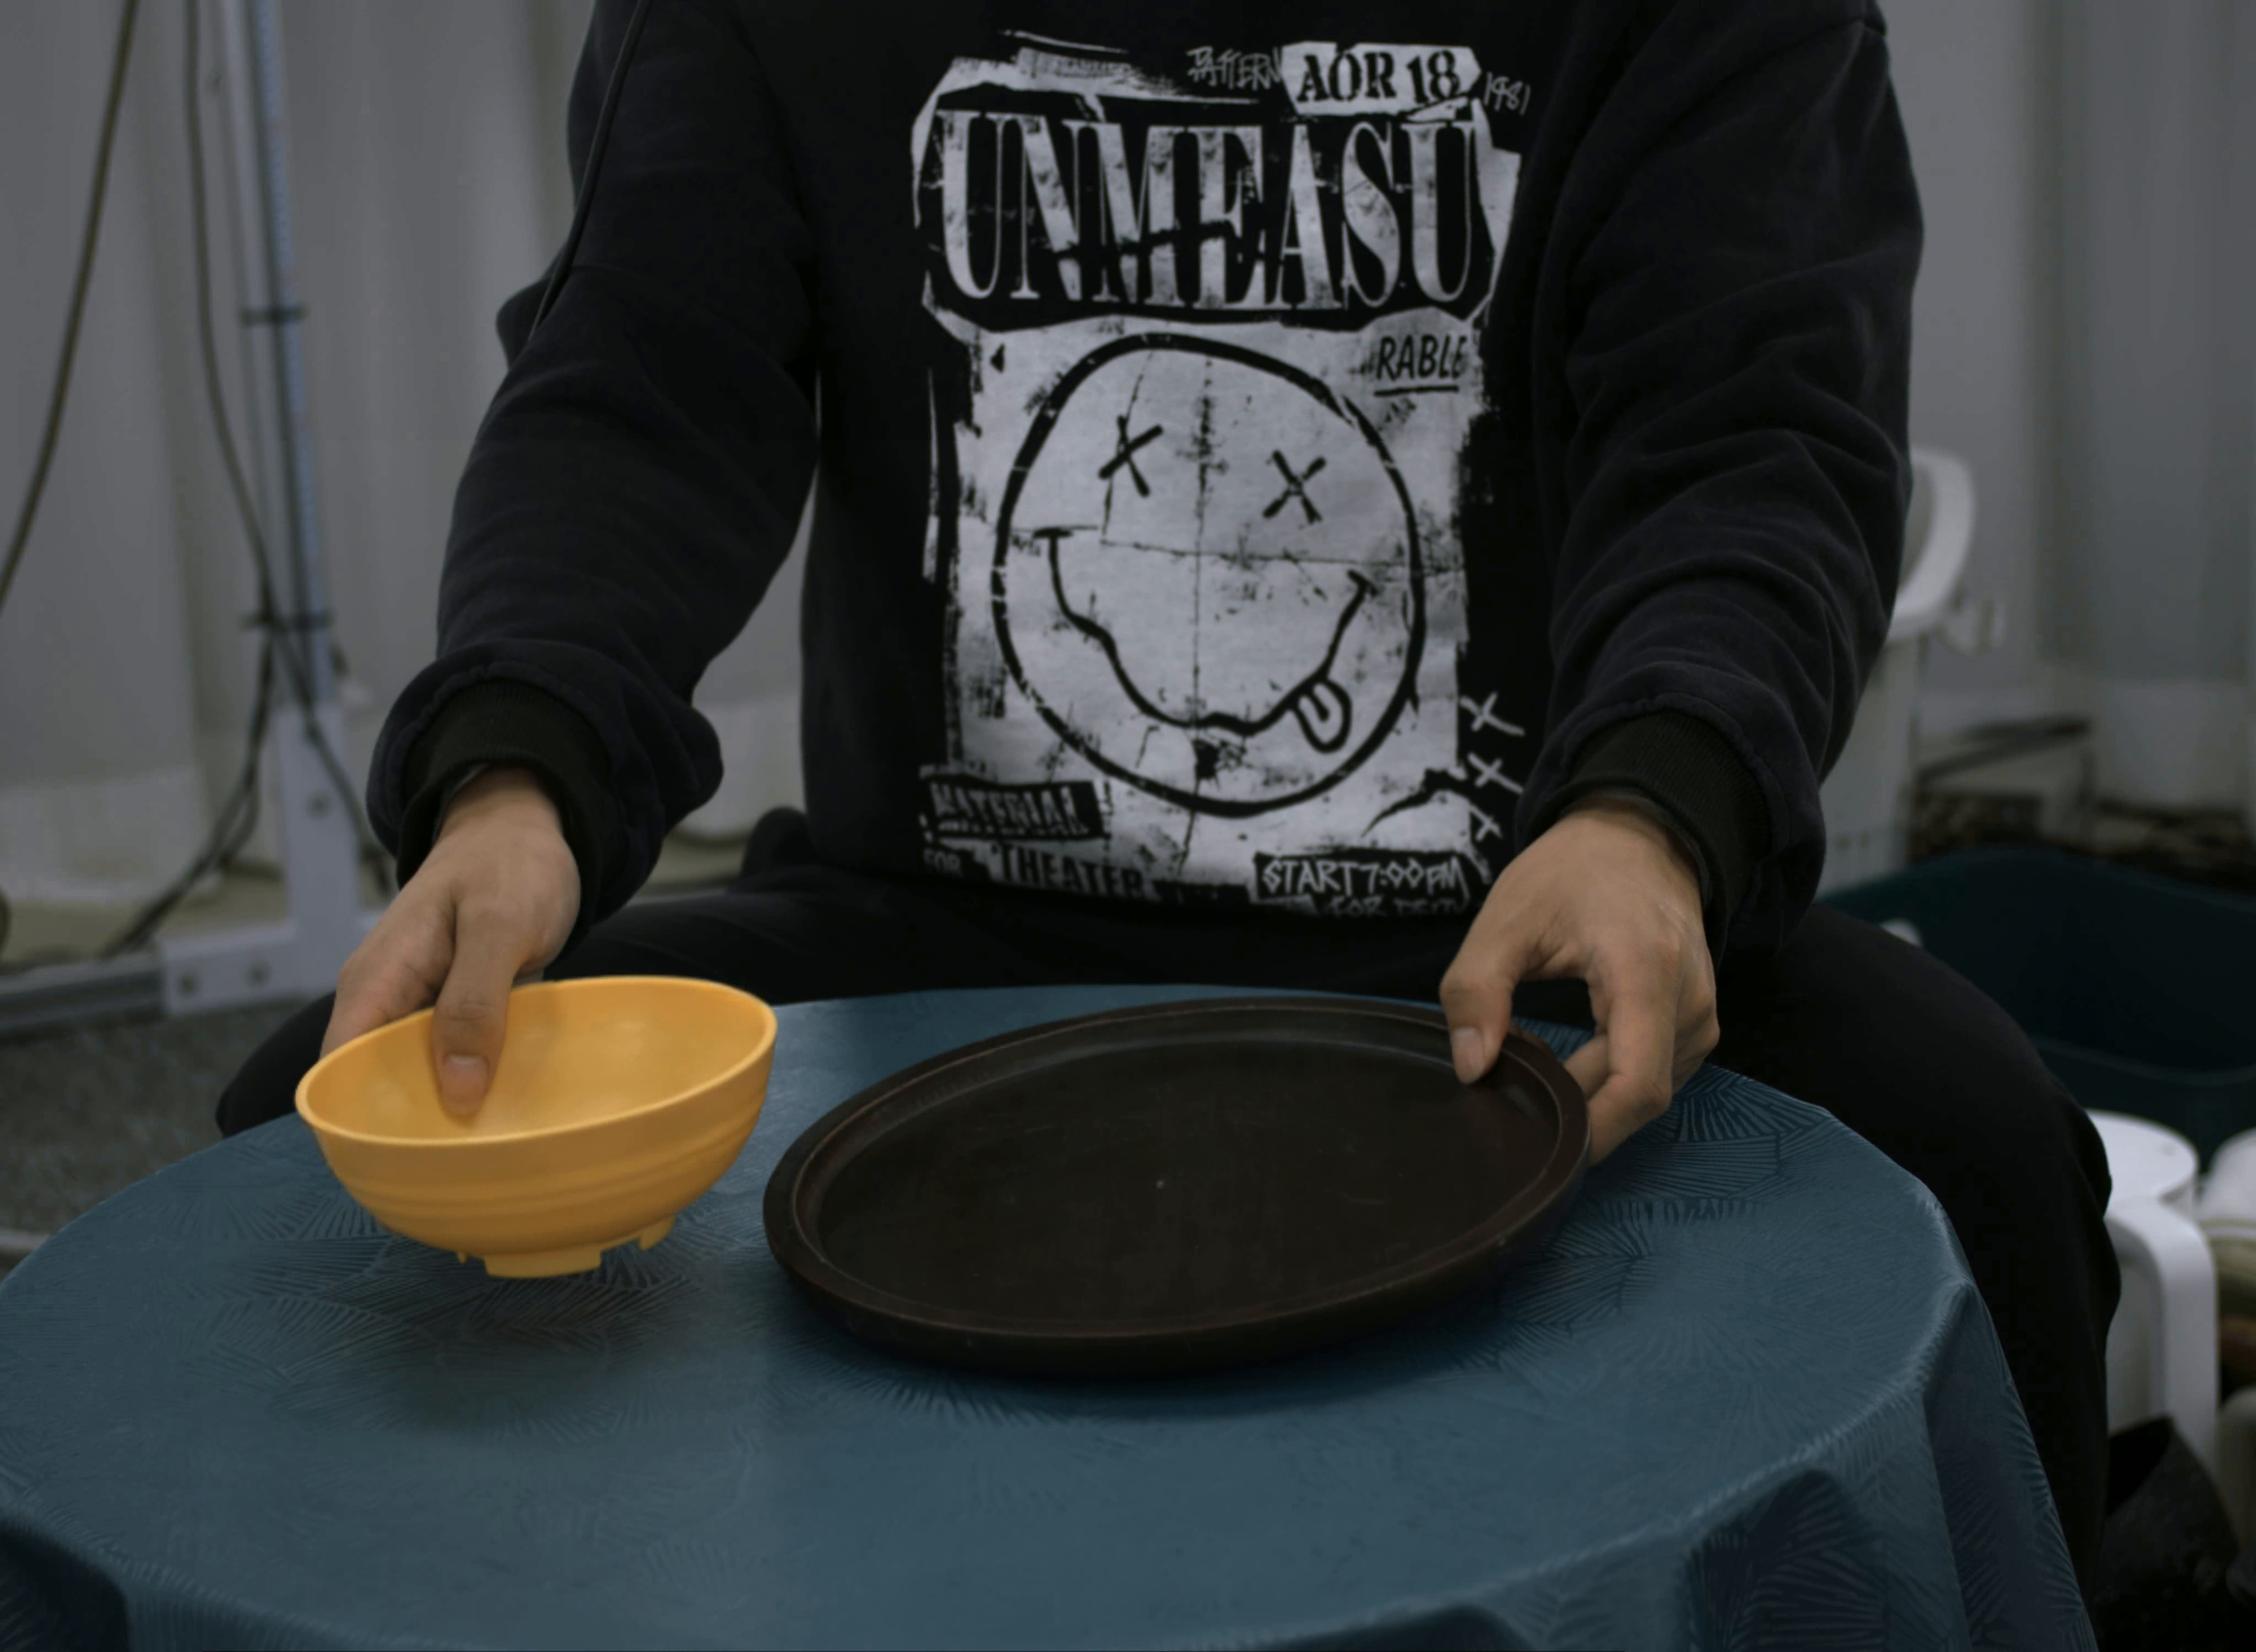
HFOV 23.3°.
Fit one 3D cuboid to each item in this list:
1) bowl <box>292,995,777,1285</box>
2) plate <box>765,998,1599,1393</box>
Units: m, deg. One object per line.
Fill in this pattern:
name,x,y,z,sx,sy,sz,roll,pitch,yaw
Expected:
bowl,-0.174,0.099,1.633,0.145,0.060,0.146,-6,14,1
plate,0.016,0.109,1.649,0.254,0.029,0.257,-7,18,2
